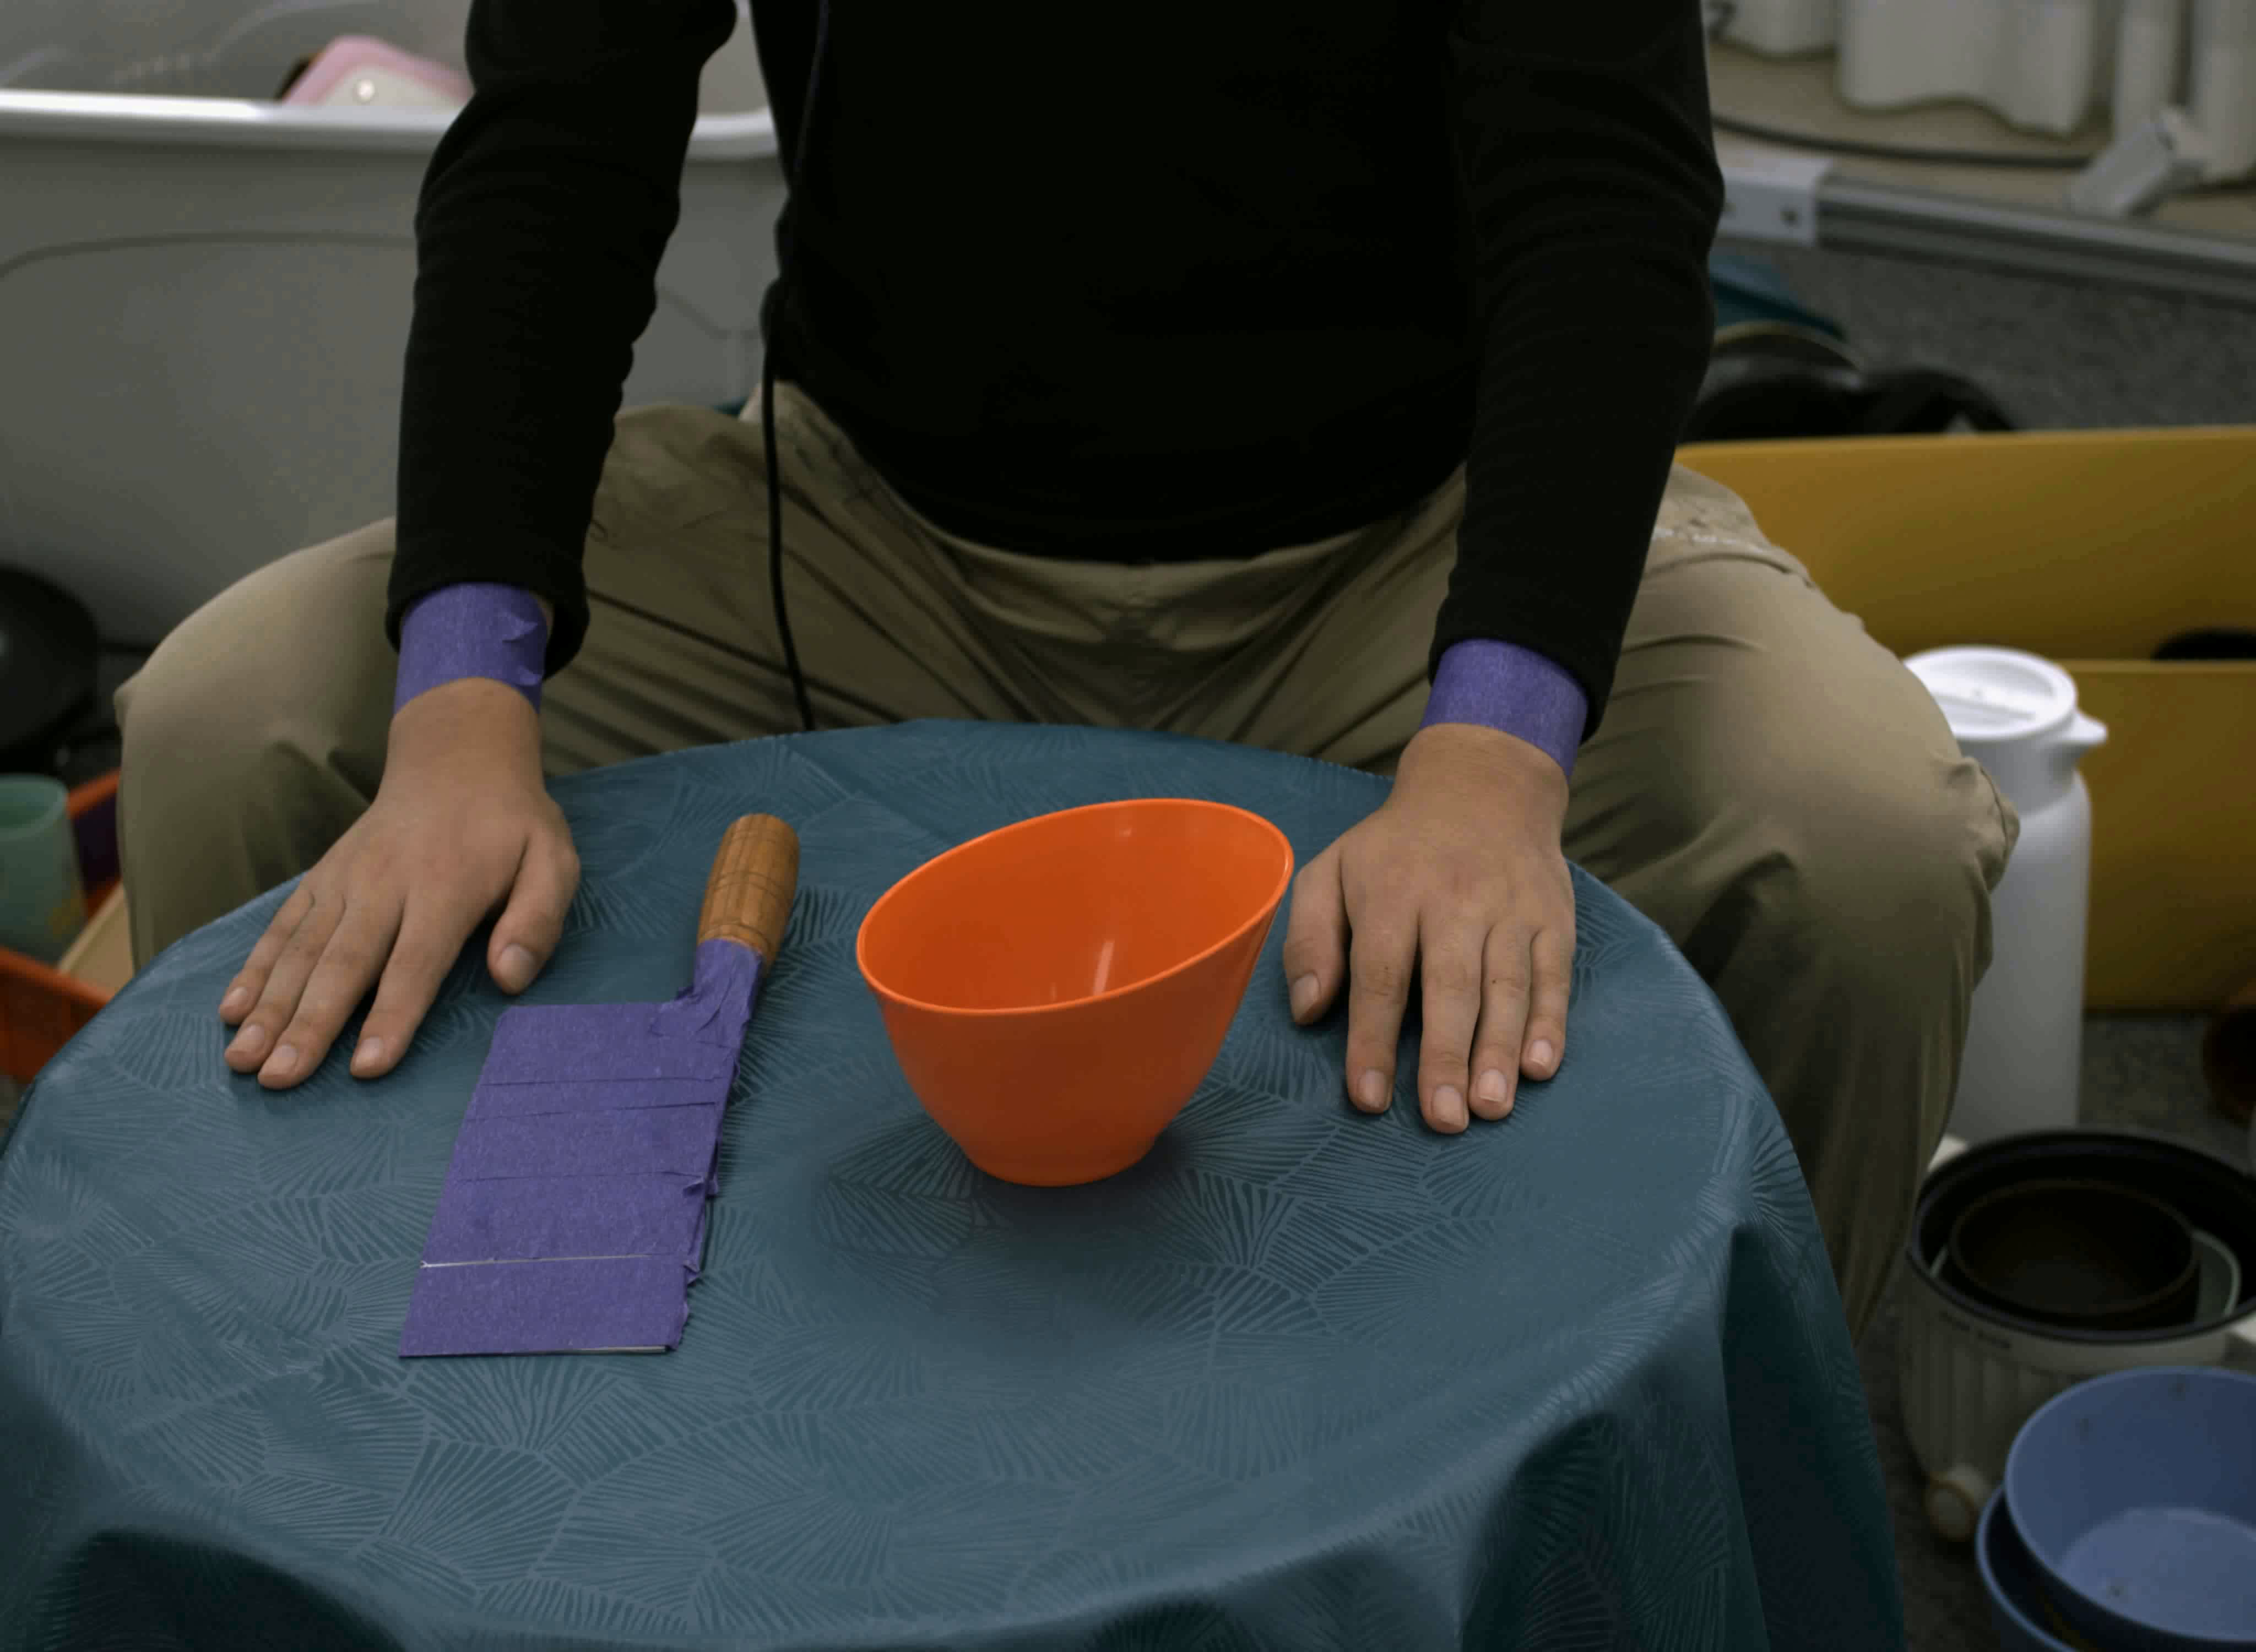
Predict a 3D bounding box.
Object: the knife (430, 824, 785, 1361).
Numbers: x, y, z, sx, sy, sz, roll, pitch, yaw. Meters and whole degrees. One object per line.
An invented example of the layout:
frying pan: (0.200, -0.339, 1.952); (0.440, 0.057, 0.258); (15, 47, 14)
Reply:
knife: (-0.177, 0.087, 1.916); (0.103, 0.032, 0.320); (0, 28, 4)

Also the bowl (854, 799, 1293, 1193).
bowl: (-0.016, 0.062, 1.867); (0.147, 0.103, 0.150); (-3, 28, 2)
